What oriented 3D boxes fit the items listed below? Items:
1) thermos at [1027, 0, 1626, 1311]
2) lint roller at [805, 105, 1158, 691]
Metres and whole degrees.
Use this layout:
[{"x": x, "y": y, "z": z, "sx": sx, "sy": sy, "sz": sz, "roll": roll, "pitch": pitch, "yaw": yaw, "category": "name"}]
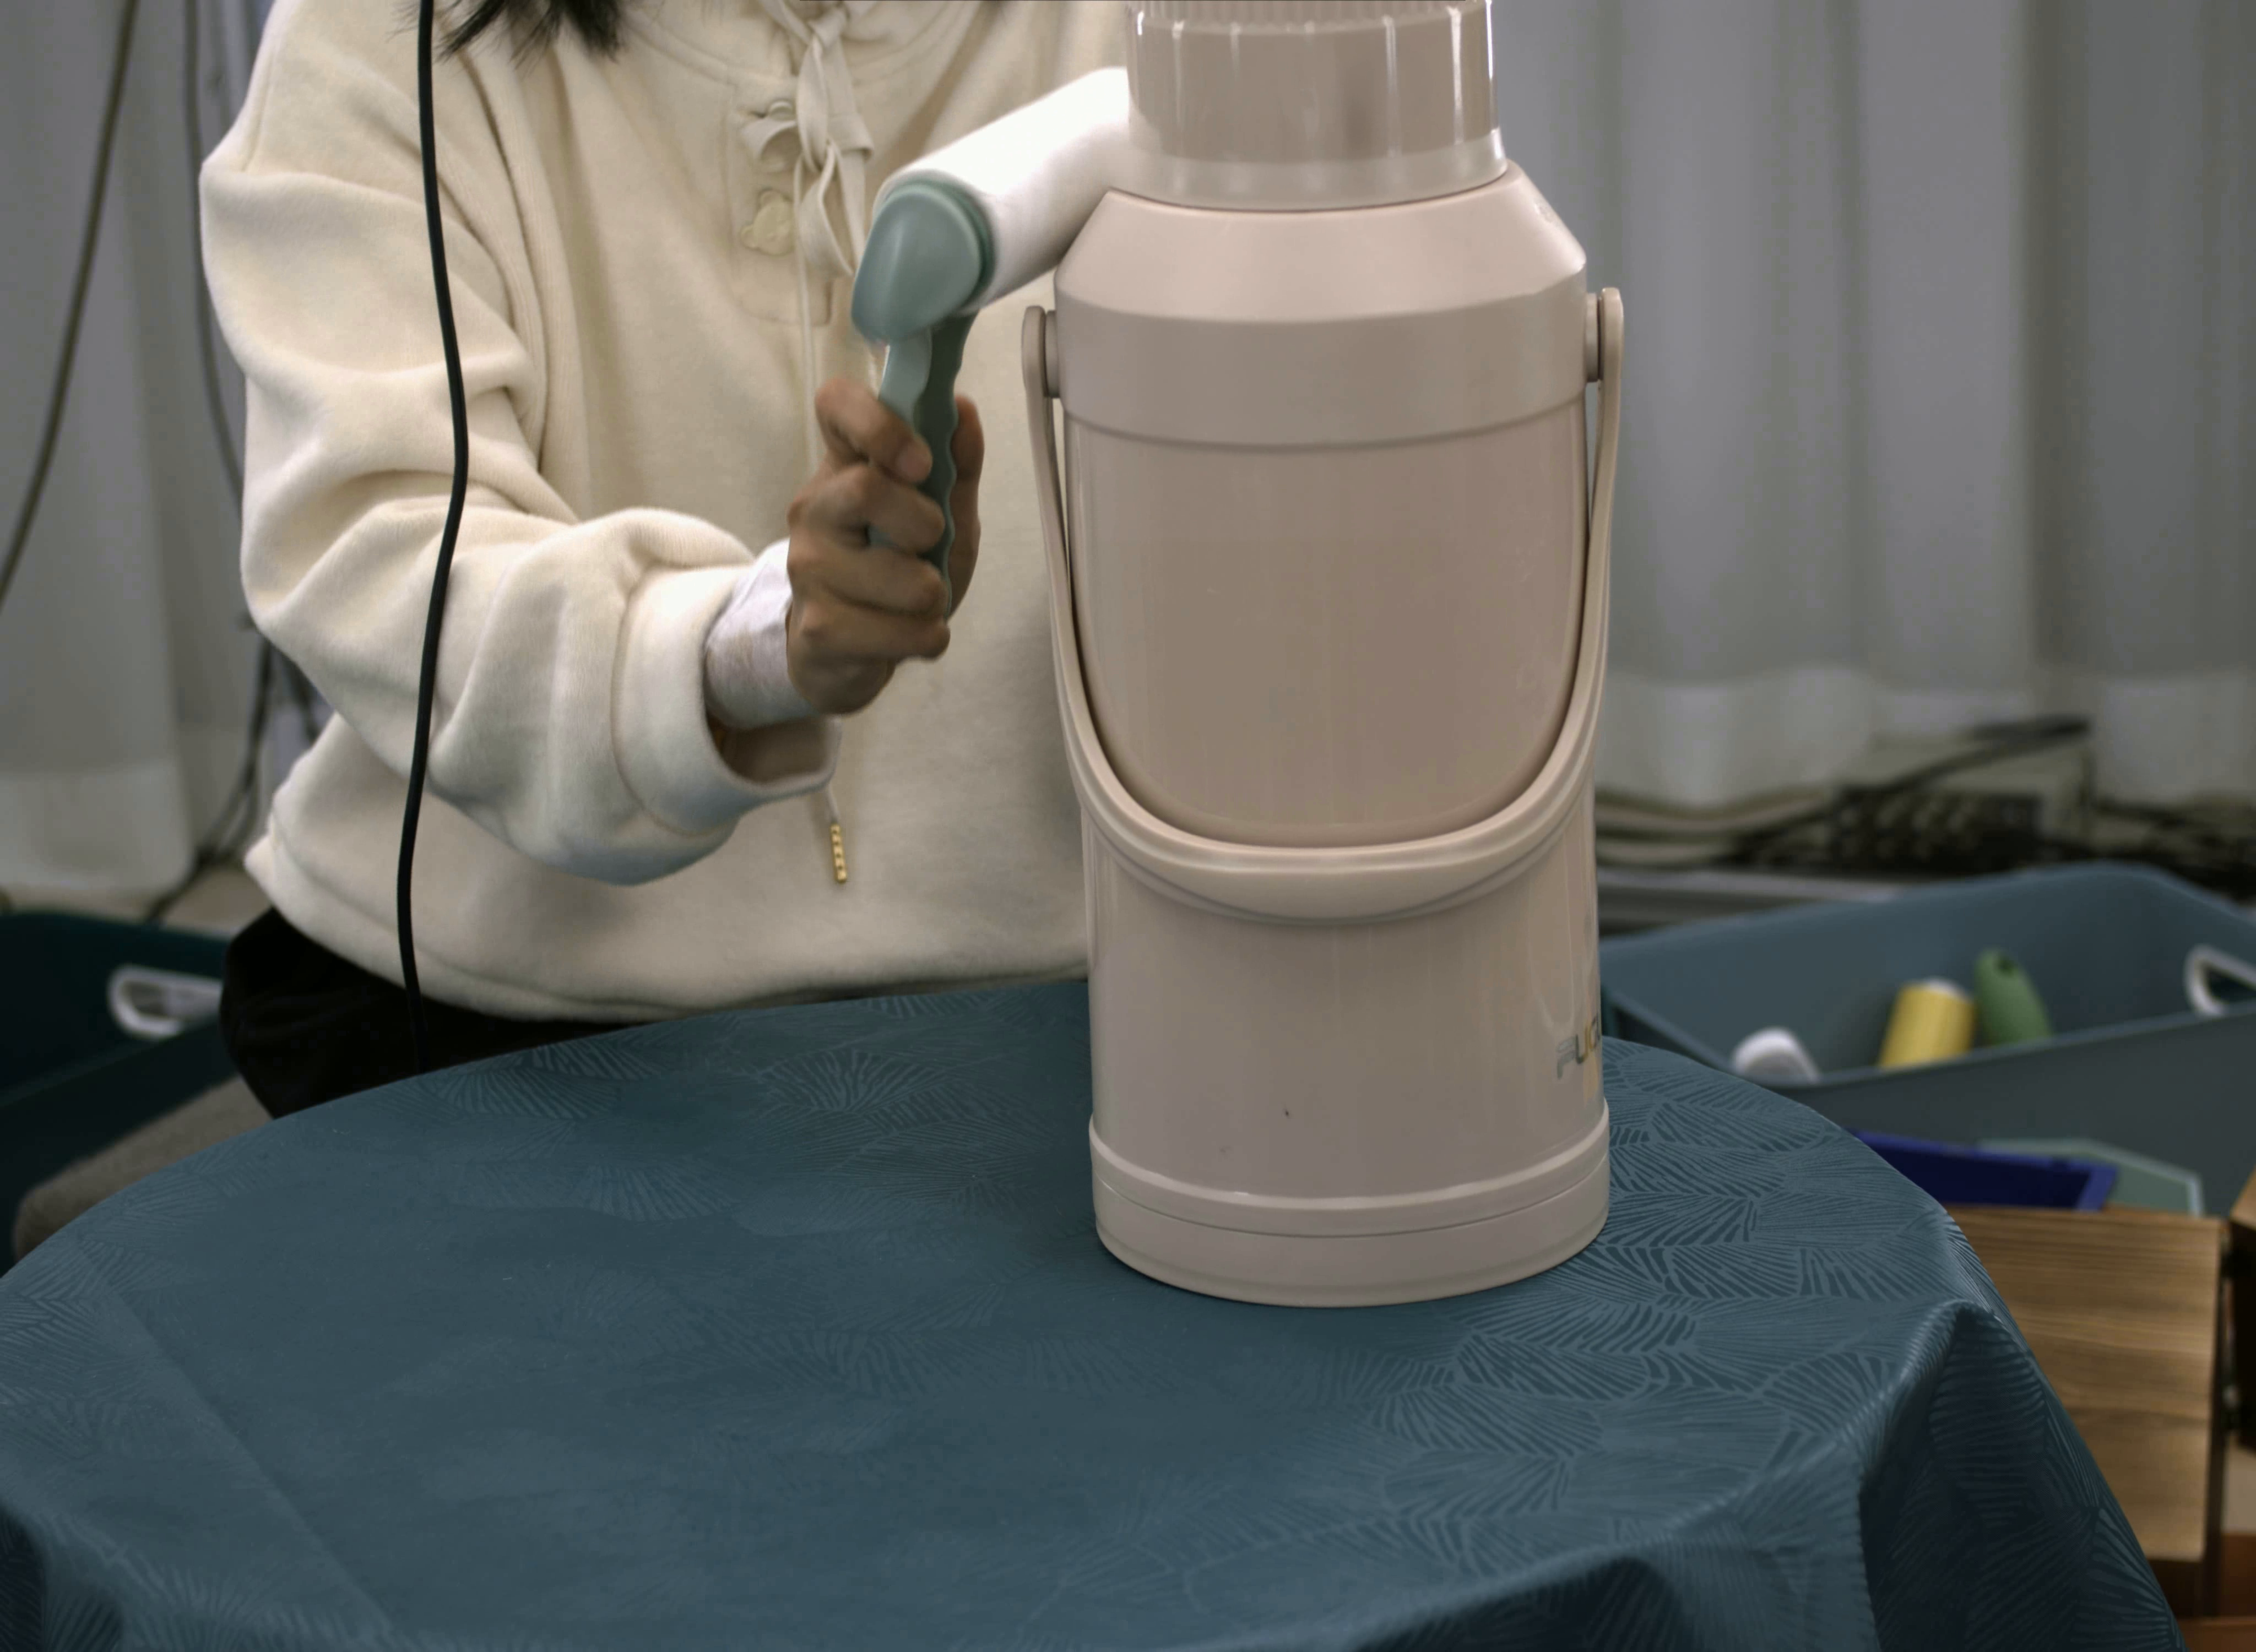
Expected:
[{"x": 0.063, "y": -0.074, "z": 1.638, "sx": 0.175, "sy": 0.404, "sz": 0.208, "roll": -2, "pitch": 15, "yaw": 4, "category": "thermos"}, {"x": -0.060, "y": -0.132, "z": 1.685, "sx": 0.048, "sy": 0.196, "sz": 0.117, "roll": 35, "pitch": 22, "yaw": 9, "category": "lint roller"}]
